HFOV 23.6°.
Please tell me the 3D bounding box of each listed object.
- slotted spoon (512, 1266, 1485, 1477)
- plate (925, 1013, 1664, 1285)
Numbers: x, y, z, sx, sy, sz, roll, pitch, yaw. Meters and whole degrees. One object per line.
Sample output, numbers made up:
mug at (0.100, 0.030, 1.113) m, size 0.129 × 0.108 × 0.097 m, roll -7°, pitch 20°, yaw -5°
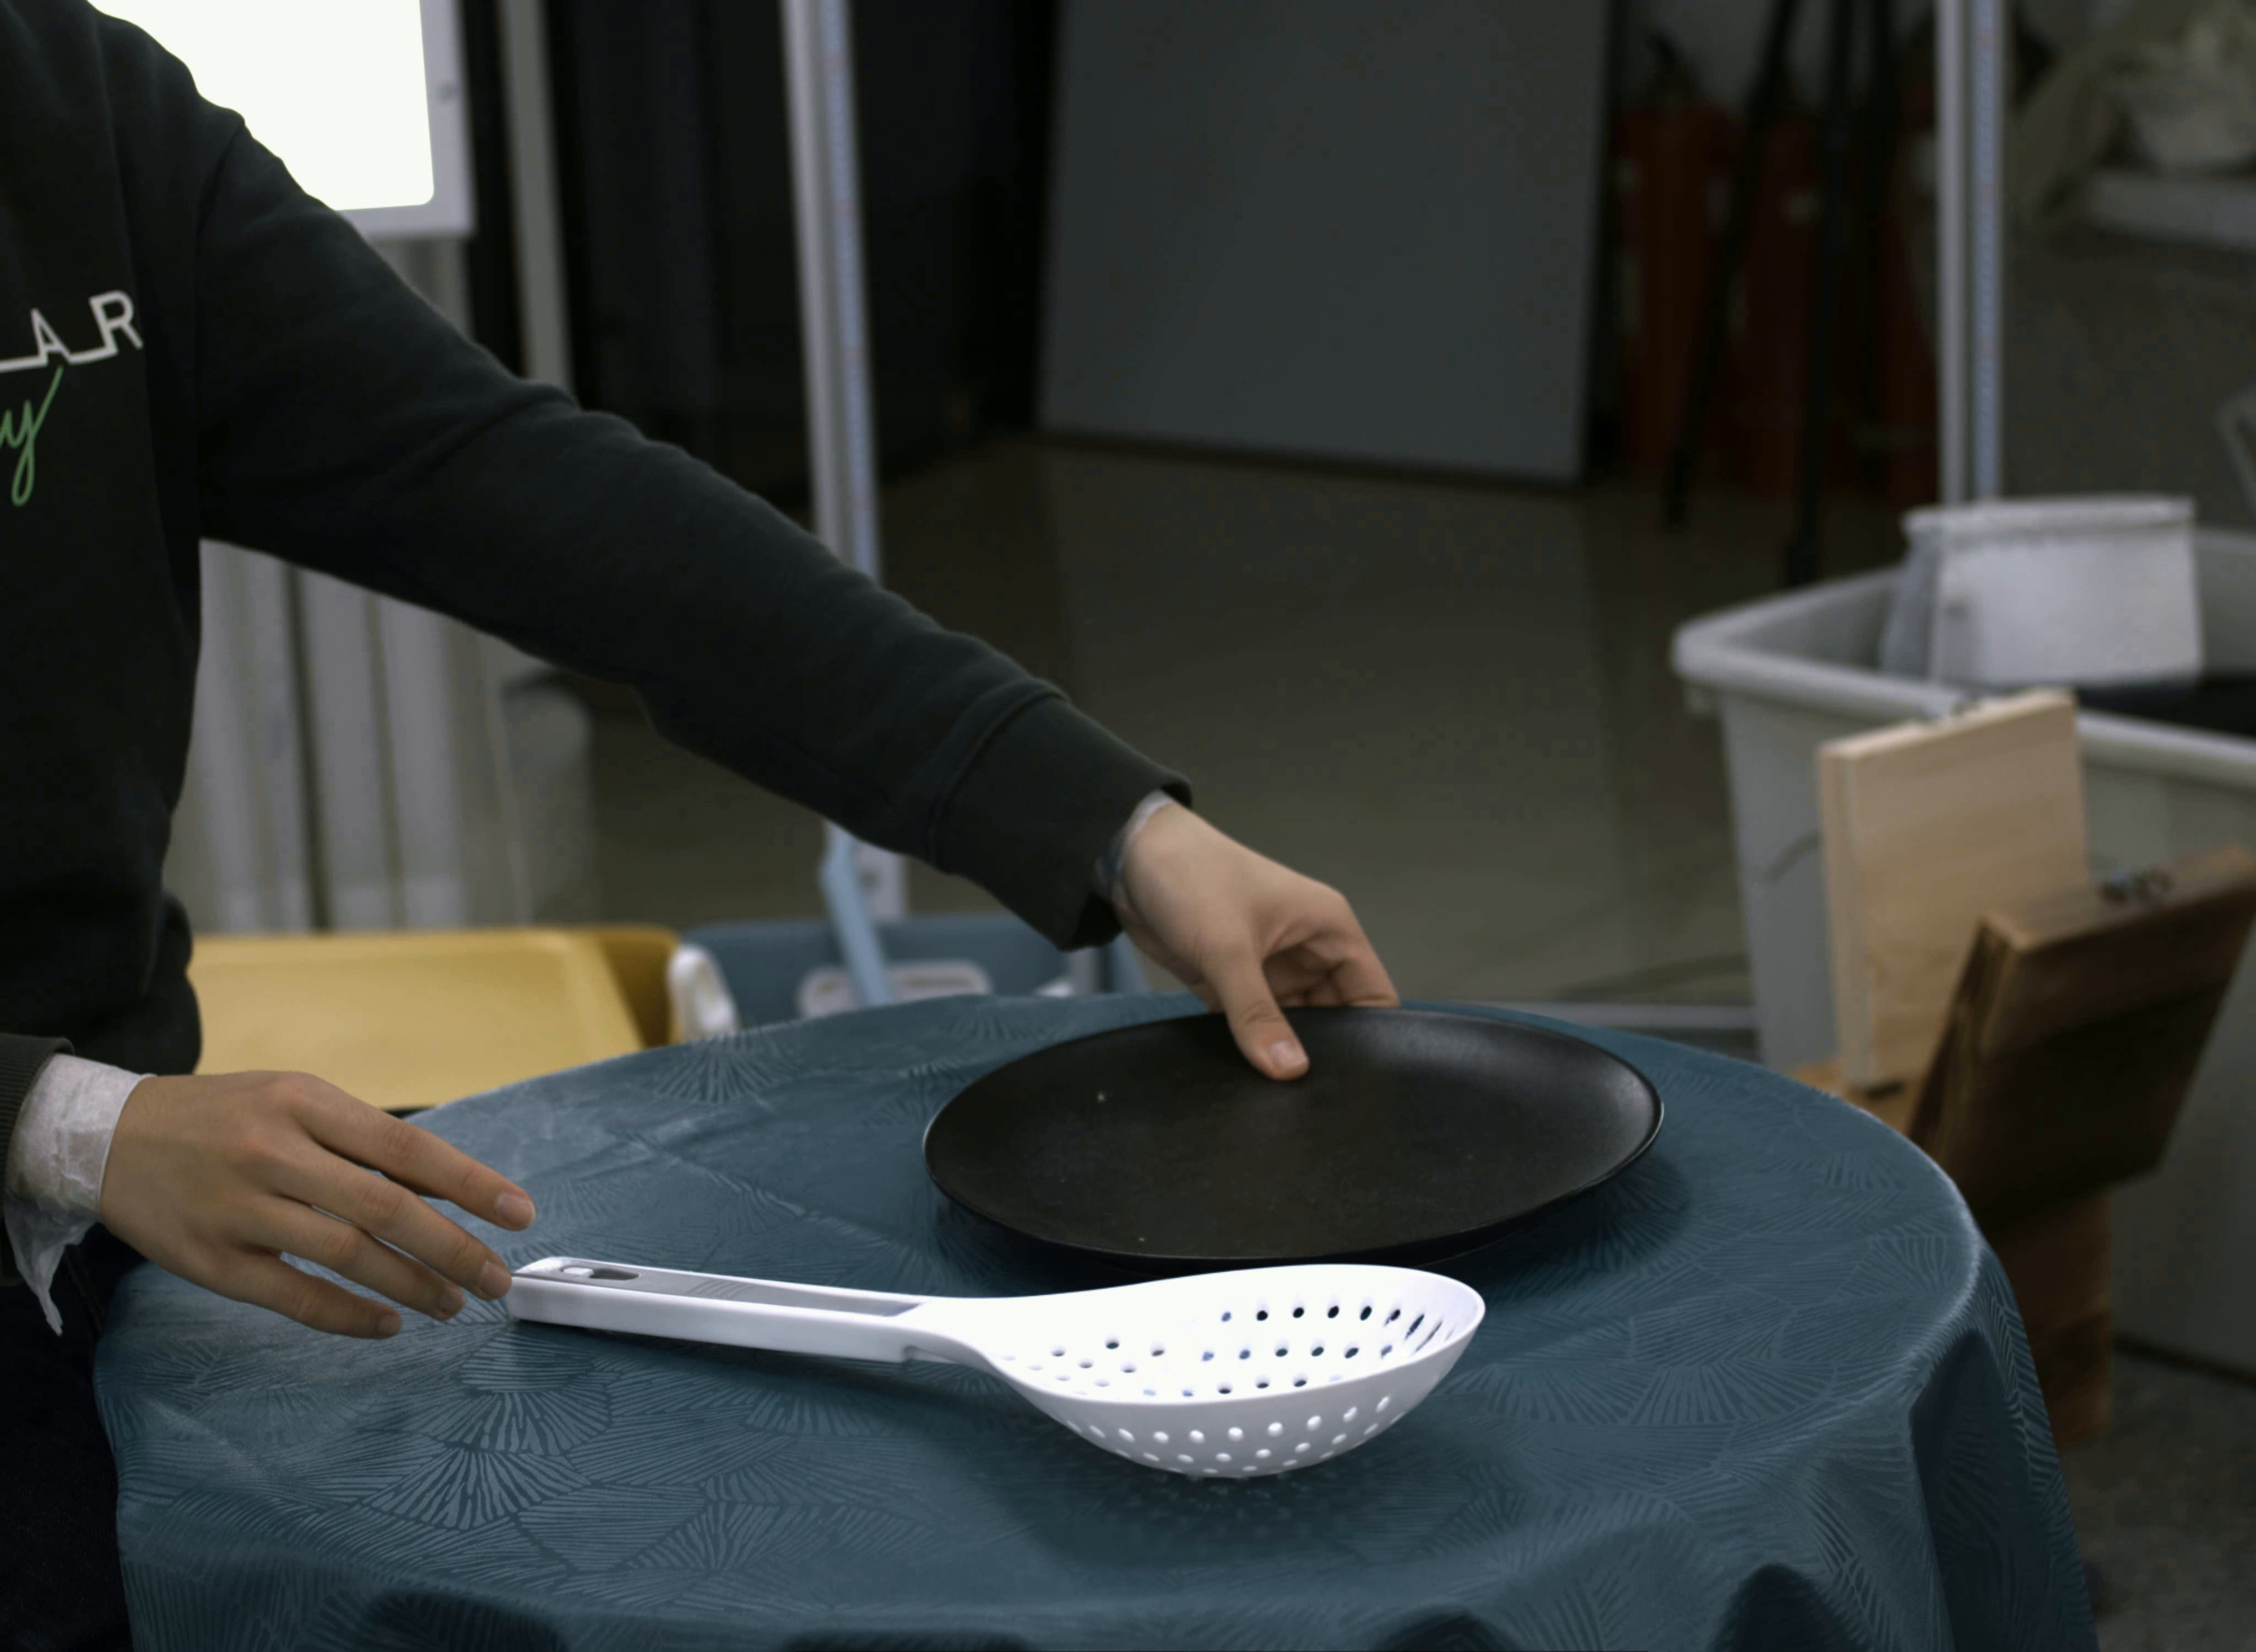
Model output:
slotted spoon at (-0.050, 0.148, 1.582) m, size 0.352 × 0.046 × 0.133 m, roll 6°, pitch 15°, yaw 38°
plate at (0.054, 0.108, 1.752) m, size 0.241 × 0.023 × 0.245 m, roll -5°, pitch 15°, yaw 0°
